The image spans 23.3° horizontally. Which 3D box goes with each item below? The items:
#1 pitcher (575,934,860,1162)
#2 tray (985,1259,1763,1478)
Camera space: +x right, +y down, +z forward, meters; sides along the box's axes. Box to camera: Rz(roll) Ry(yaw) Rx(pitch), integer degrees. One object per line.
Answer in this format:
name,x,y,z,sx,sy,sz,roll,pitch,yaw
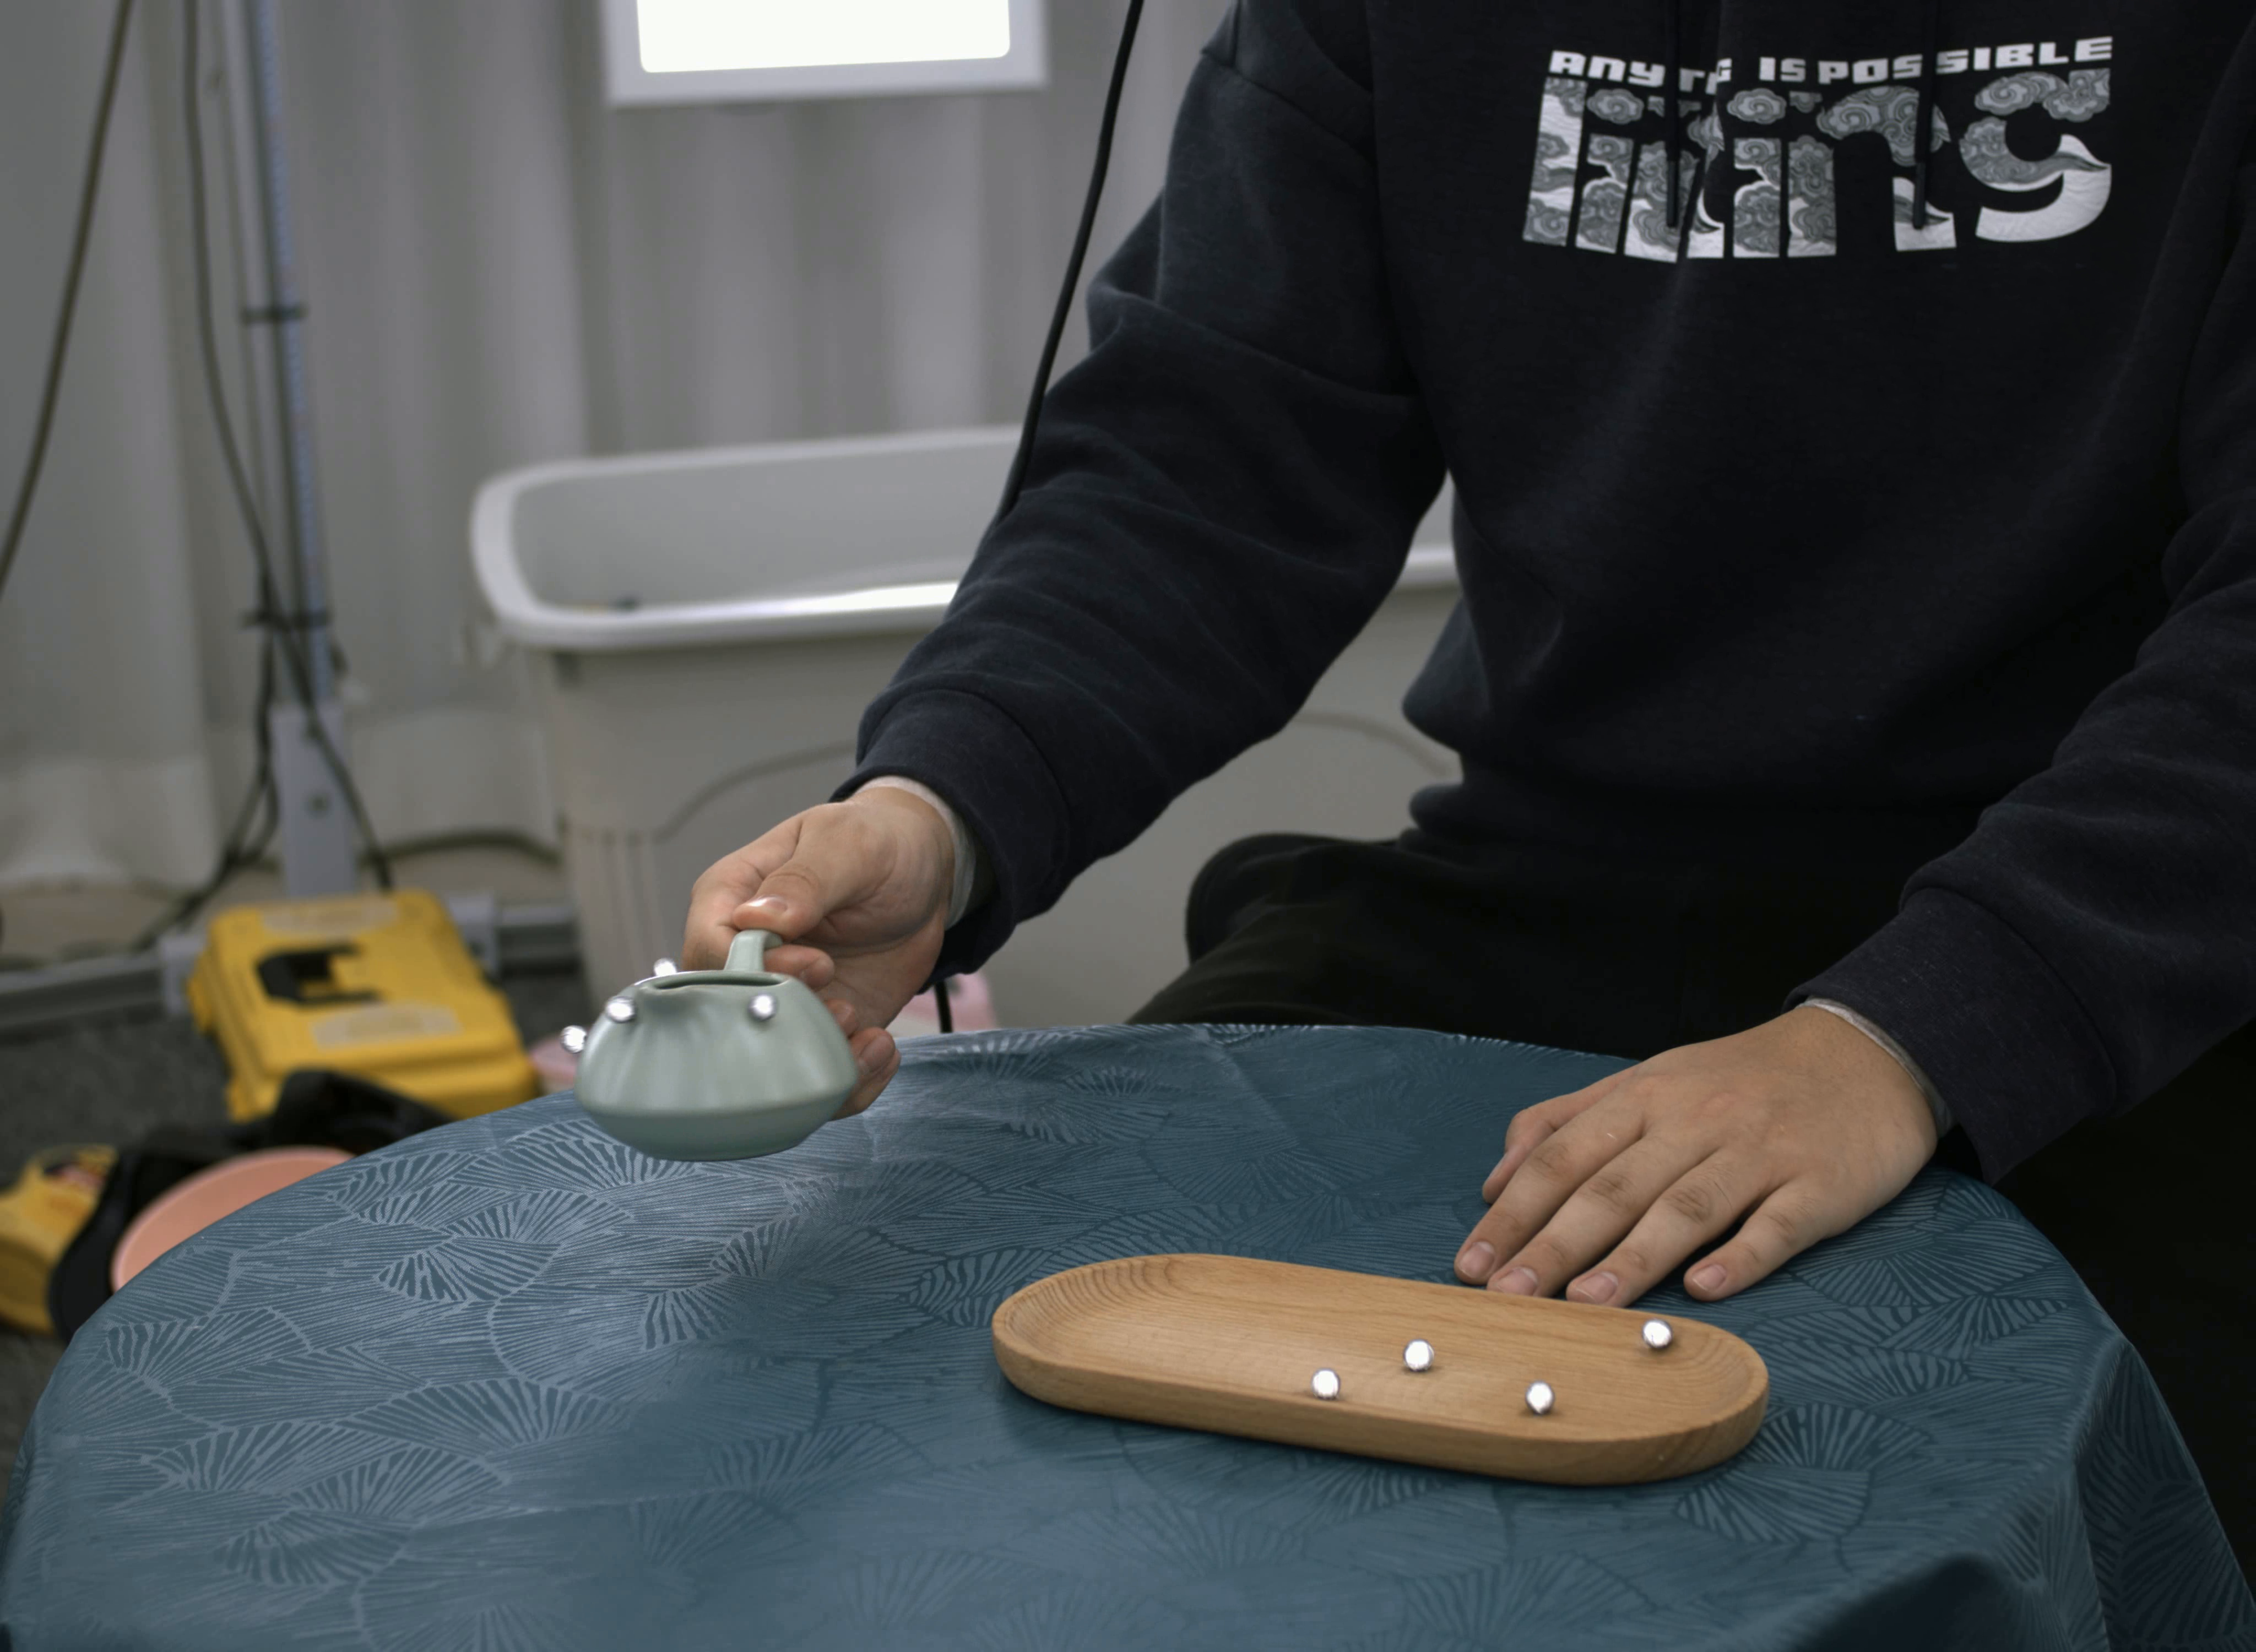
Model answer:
pitcher,-0.121,0.068,1.660,0.086,0.060,0.108,0,6,12
tray,0.067,0.152,1.536,0.231,0.020,0.102,3,14,28
